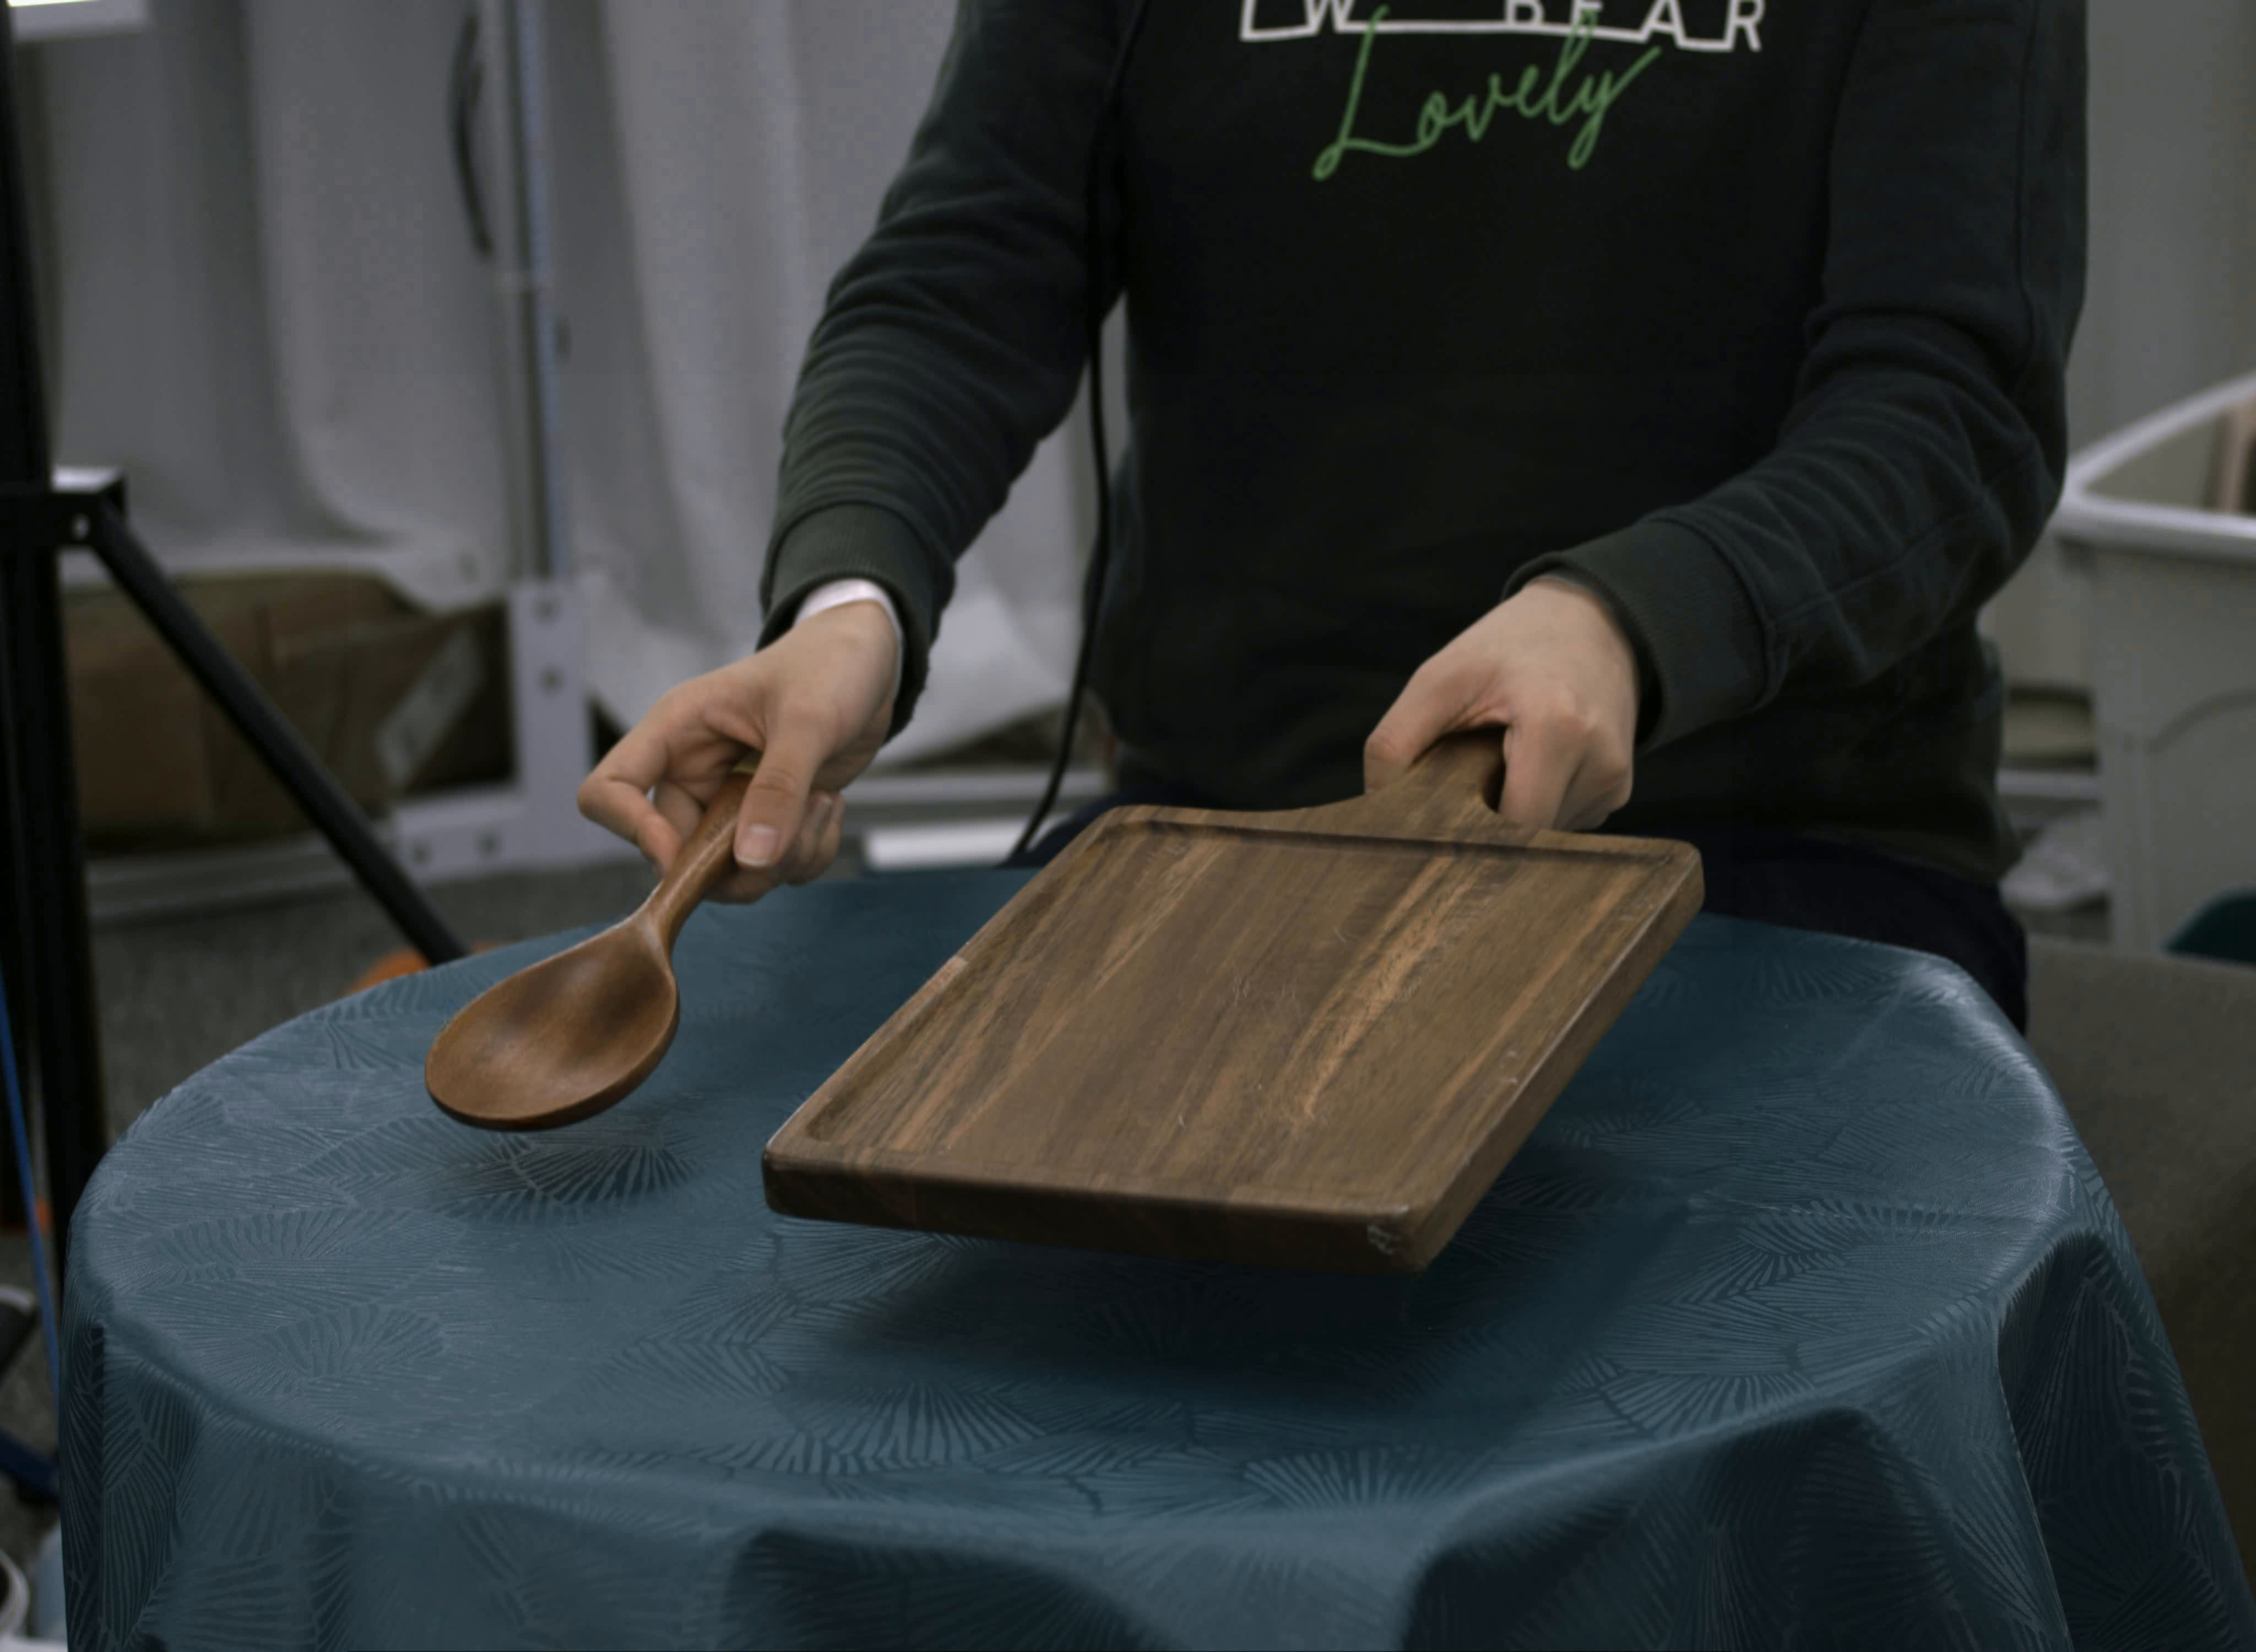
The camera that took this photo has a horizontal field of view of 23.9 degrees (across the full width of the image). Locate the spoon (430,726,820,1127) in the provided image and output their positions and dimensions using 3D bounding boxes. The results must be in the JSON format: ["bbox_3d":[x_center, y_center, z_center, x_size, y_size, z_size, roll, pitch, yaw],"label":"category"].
[{"bbox_3d":[-0.147,0.032,1.656,0.076,0.017,0.214,1,34,26],"label":"spoon"}]

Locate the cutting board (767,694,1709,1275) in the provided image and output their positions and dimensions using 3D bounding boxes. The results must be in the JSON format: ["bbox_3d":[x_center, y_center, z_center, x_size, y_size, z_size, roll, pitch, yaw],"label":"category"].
[{"bbox_3d":[0.056,0.036,1.543,0.204,0.023,0.348,2,24,25],"label":"cutting board"}]
